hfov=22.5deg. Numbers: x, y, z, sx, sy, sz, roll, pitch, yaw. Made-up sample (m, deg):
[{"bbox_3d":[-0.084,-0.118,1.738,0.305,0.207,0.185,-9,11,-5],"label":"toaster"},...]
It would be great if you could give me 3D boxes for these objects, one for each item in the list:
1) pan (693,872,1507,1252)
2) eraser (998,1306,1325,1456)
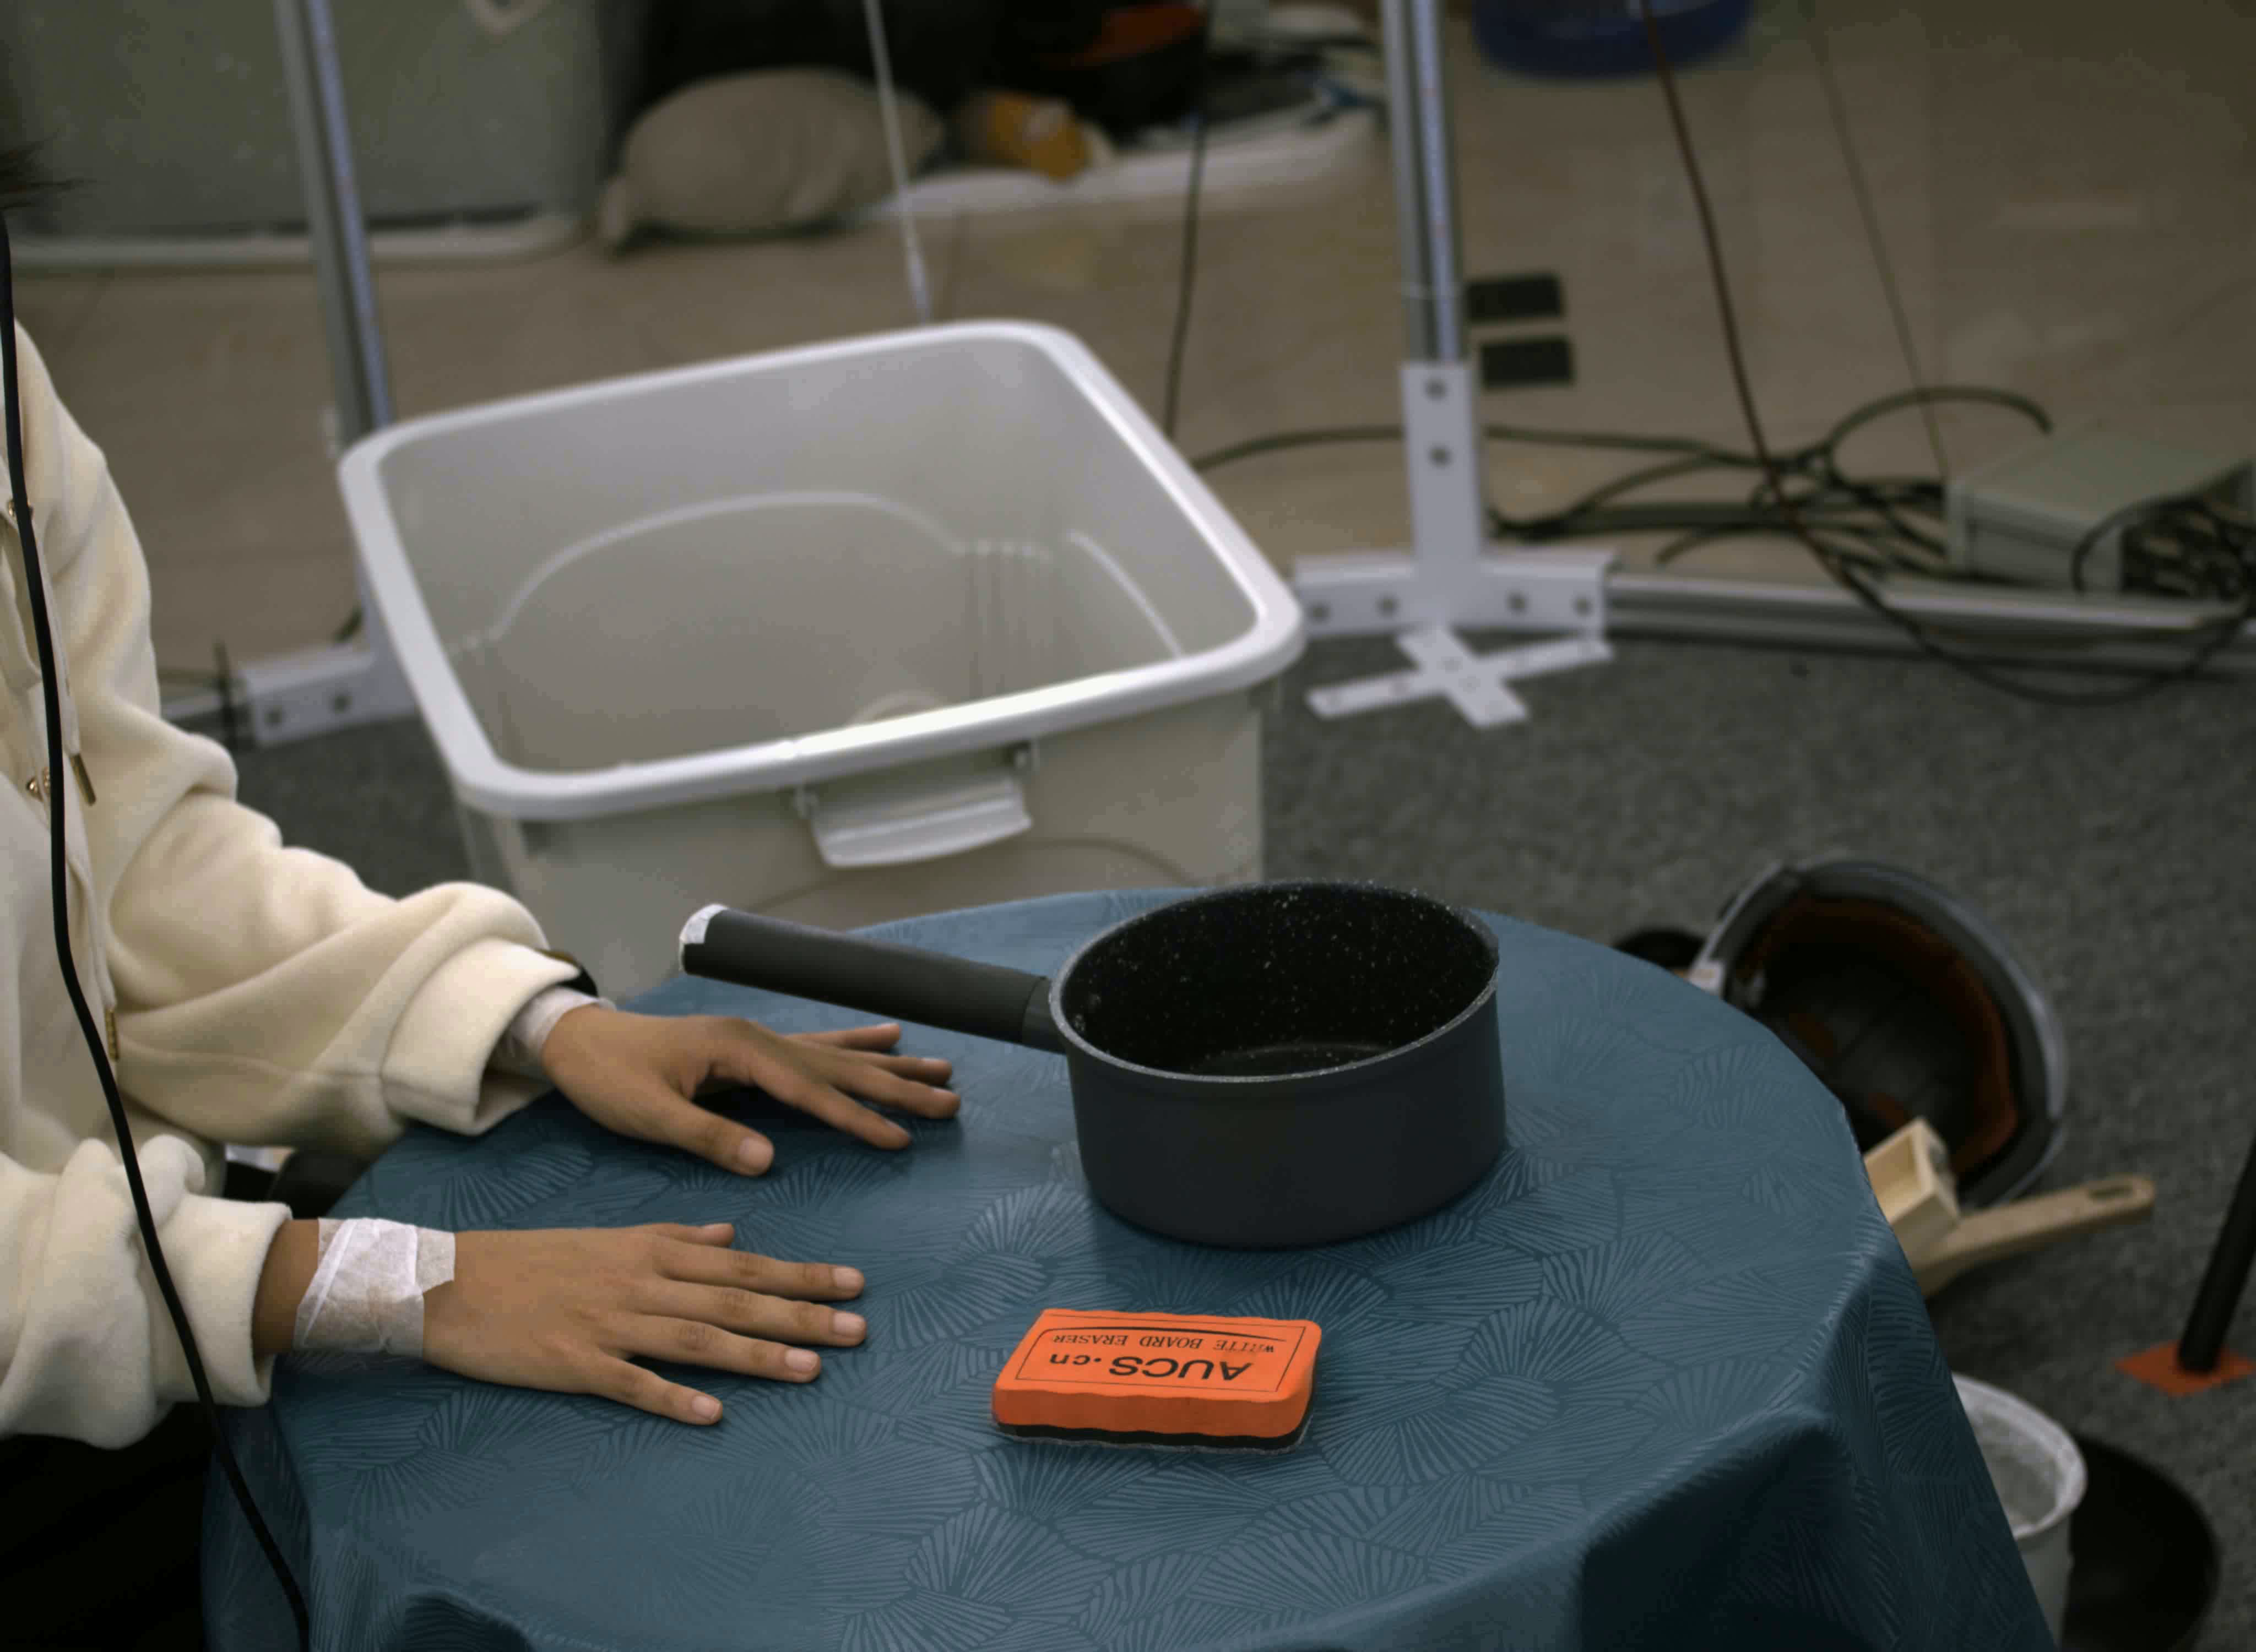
[{"bbox_3d":[-0.014,0.082,2.174,0.327,0.088,0.170,6,27,22],"label":"pan"},{"bbox_3d":[0.012,0.195,1.997,0.108,0.023,0.058,2,26,18],"label":"eraser"}]
